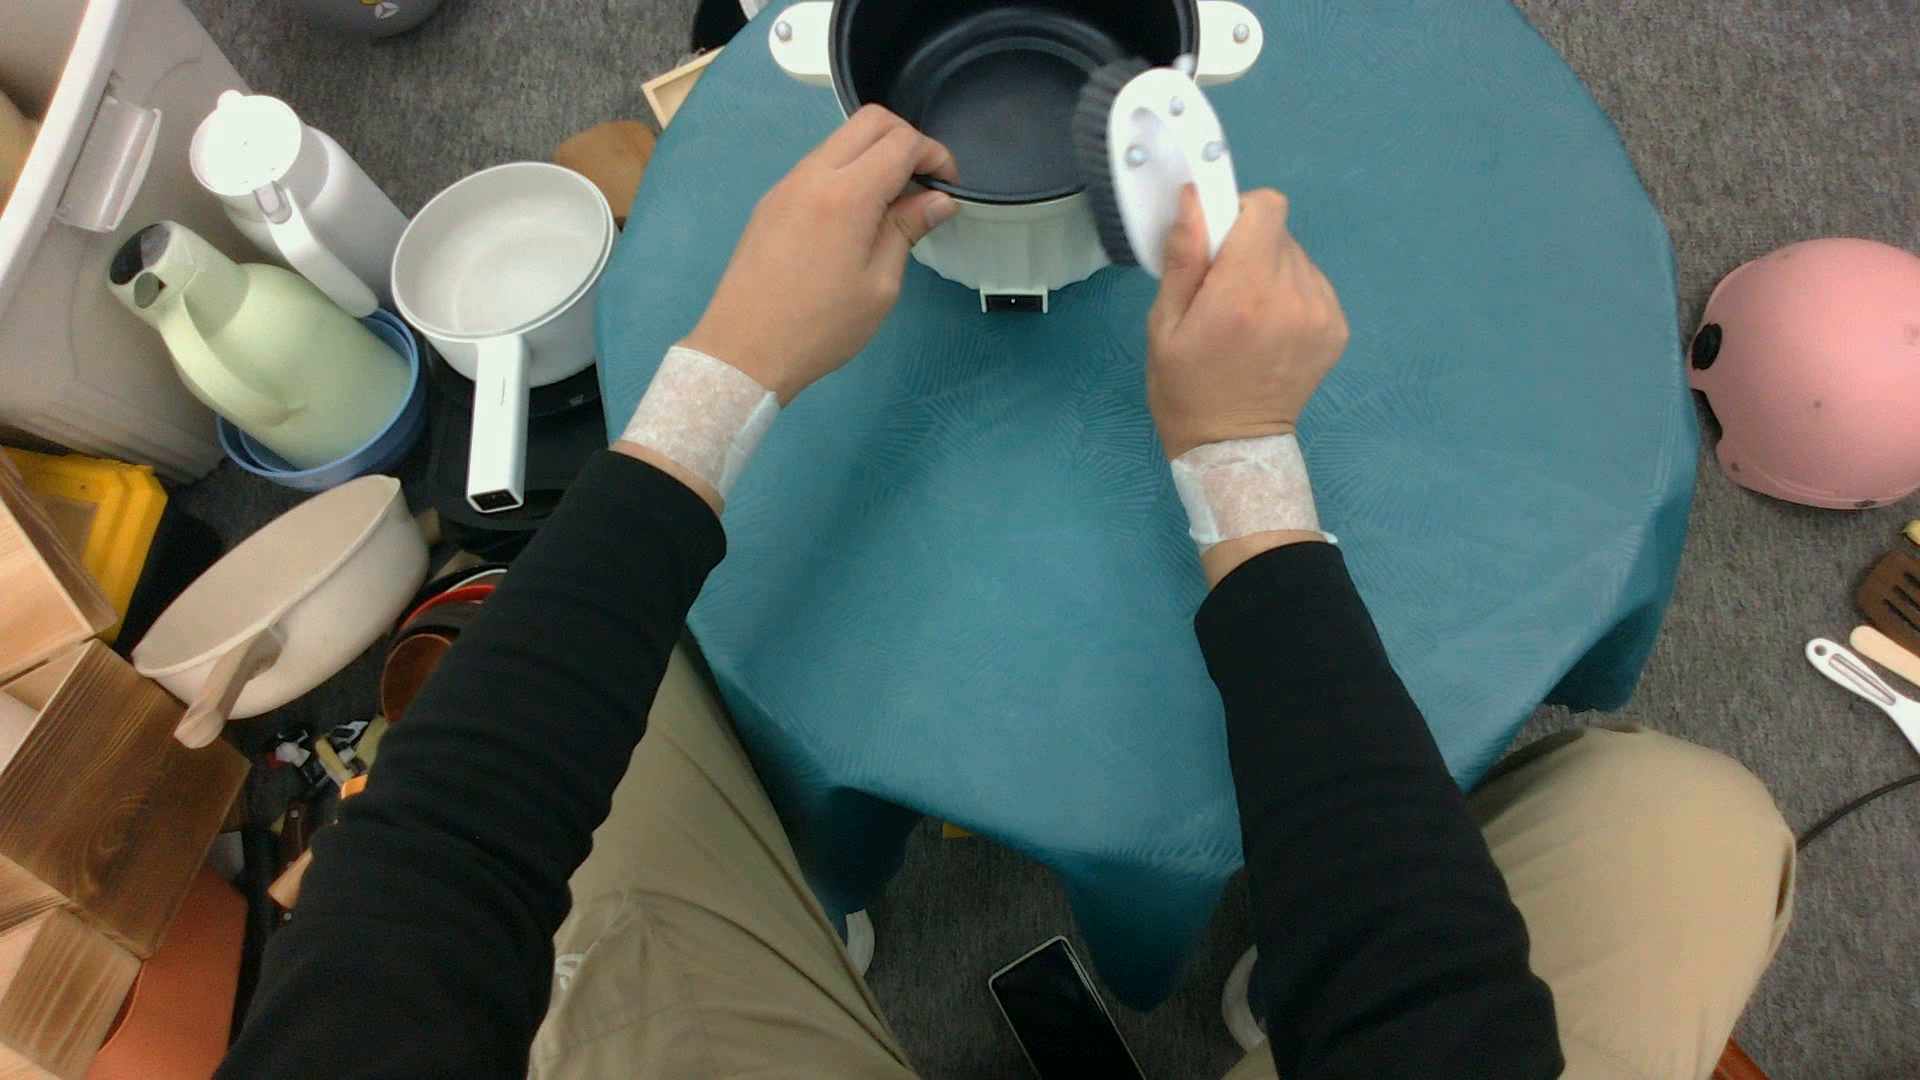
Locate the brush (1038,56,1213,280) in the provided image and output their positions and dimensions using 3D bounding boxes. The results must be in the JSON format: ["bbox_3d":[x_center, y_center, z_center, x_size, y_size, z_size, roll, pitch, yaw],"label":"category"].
[{"bbox_3d":[0.082,-0.162,0.615,0.050,0.099,0.072,-34,37,-14],"label":"brush"}]

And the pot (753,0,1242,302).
[{"bbox_3d":[0.019,-0.239,0.736,0.240,0.142,0.191,1,77,2],"label":"pot"}]
